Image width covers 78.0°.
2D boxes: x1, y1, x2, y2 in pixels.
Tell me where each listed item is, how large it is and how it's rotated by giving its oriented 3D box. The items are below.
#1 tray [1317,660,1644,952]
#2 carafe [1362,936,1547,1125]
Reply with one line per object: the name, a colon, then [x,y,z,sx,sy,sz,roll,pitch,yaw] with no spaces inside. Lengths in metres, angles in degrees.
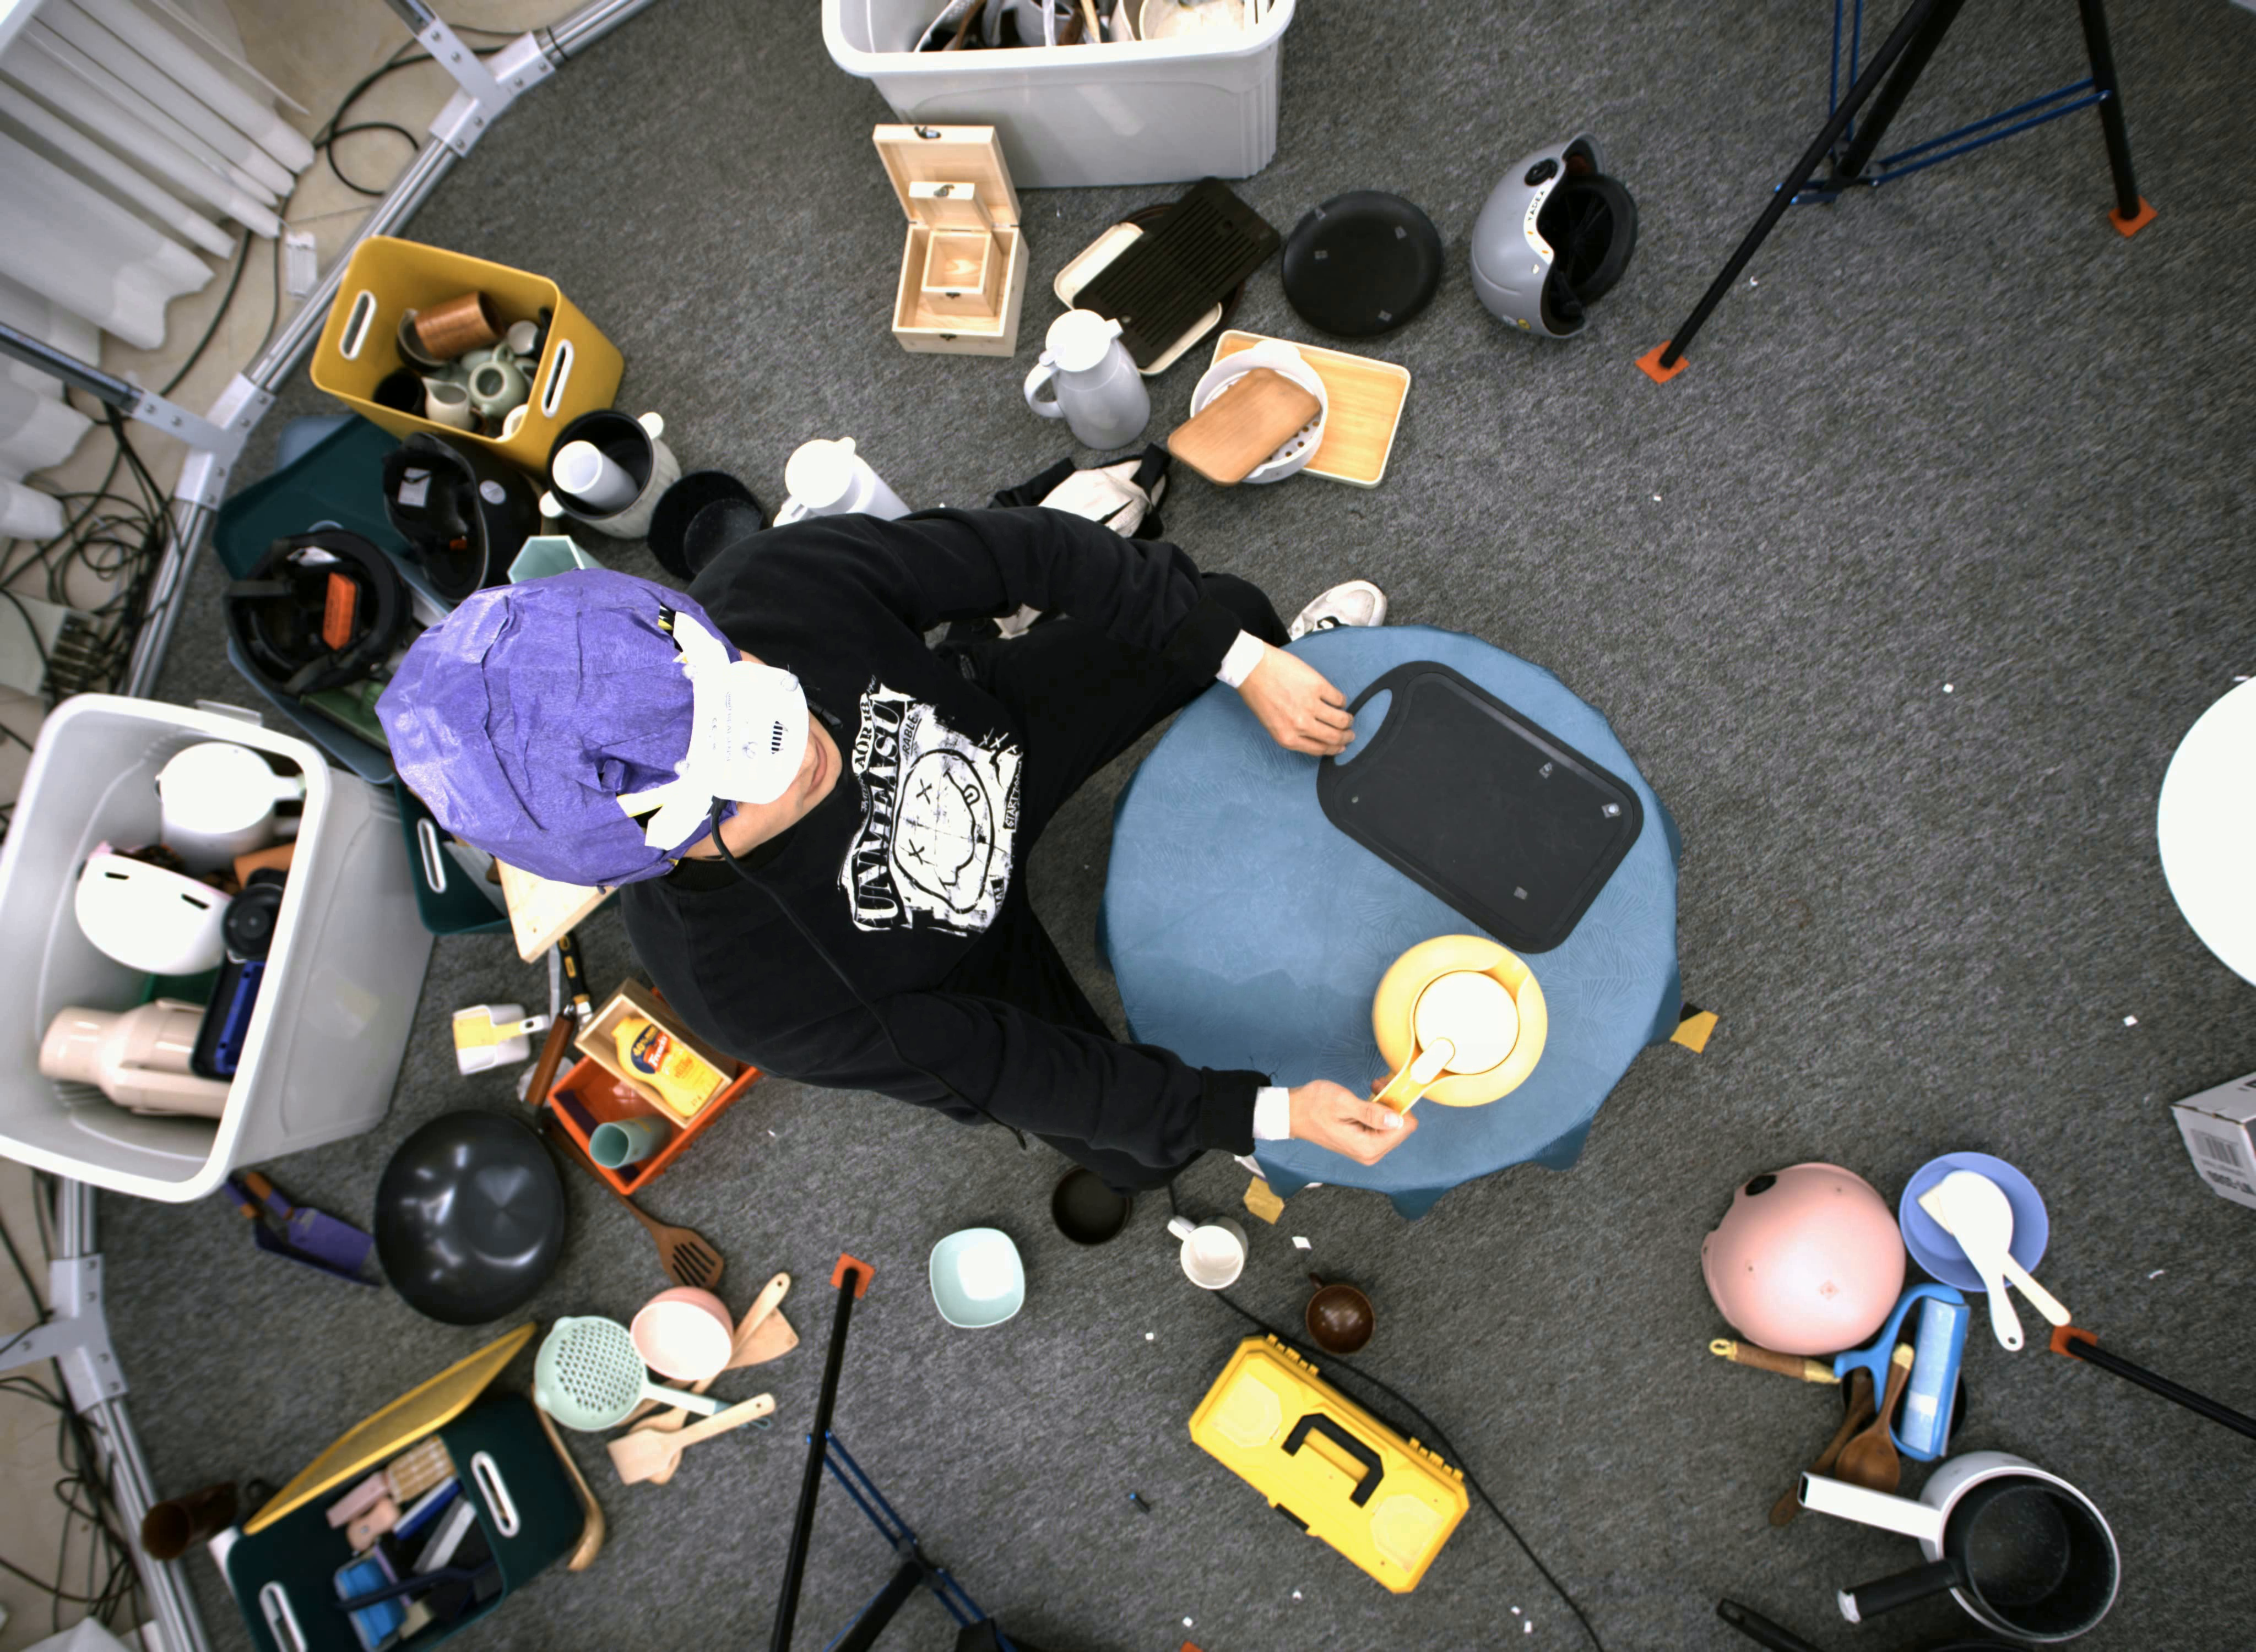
tray: [0.361,-0.030,1.445,0.324,0.010,0.212,36,94,11]
carafe: [0.300,0.197,1.316,0.203,0.261,0.162,-46,76,2]
